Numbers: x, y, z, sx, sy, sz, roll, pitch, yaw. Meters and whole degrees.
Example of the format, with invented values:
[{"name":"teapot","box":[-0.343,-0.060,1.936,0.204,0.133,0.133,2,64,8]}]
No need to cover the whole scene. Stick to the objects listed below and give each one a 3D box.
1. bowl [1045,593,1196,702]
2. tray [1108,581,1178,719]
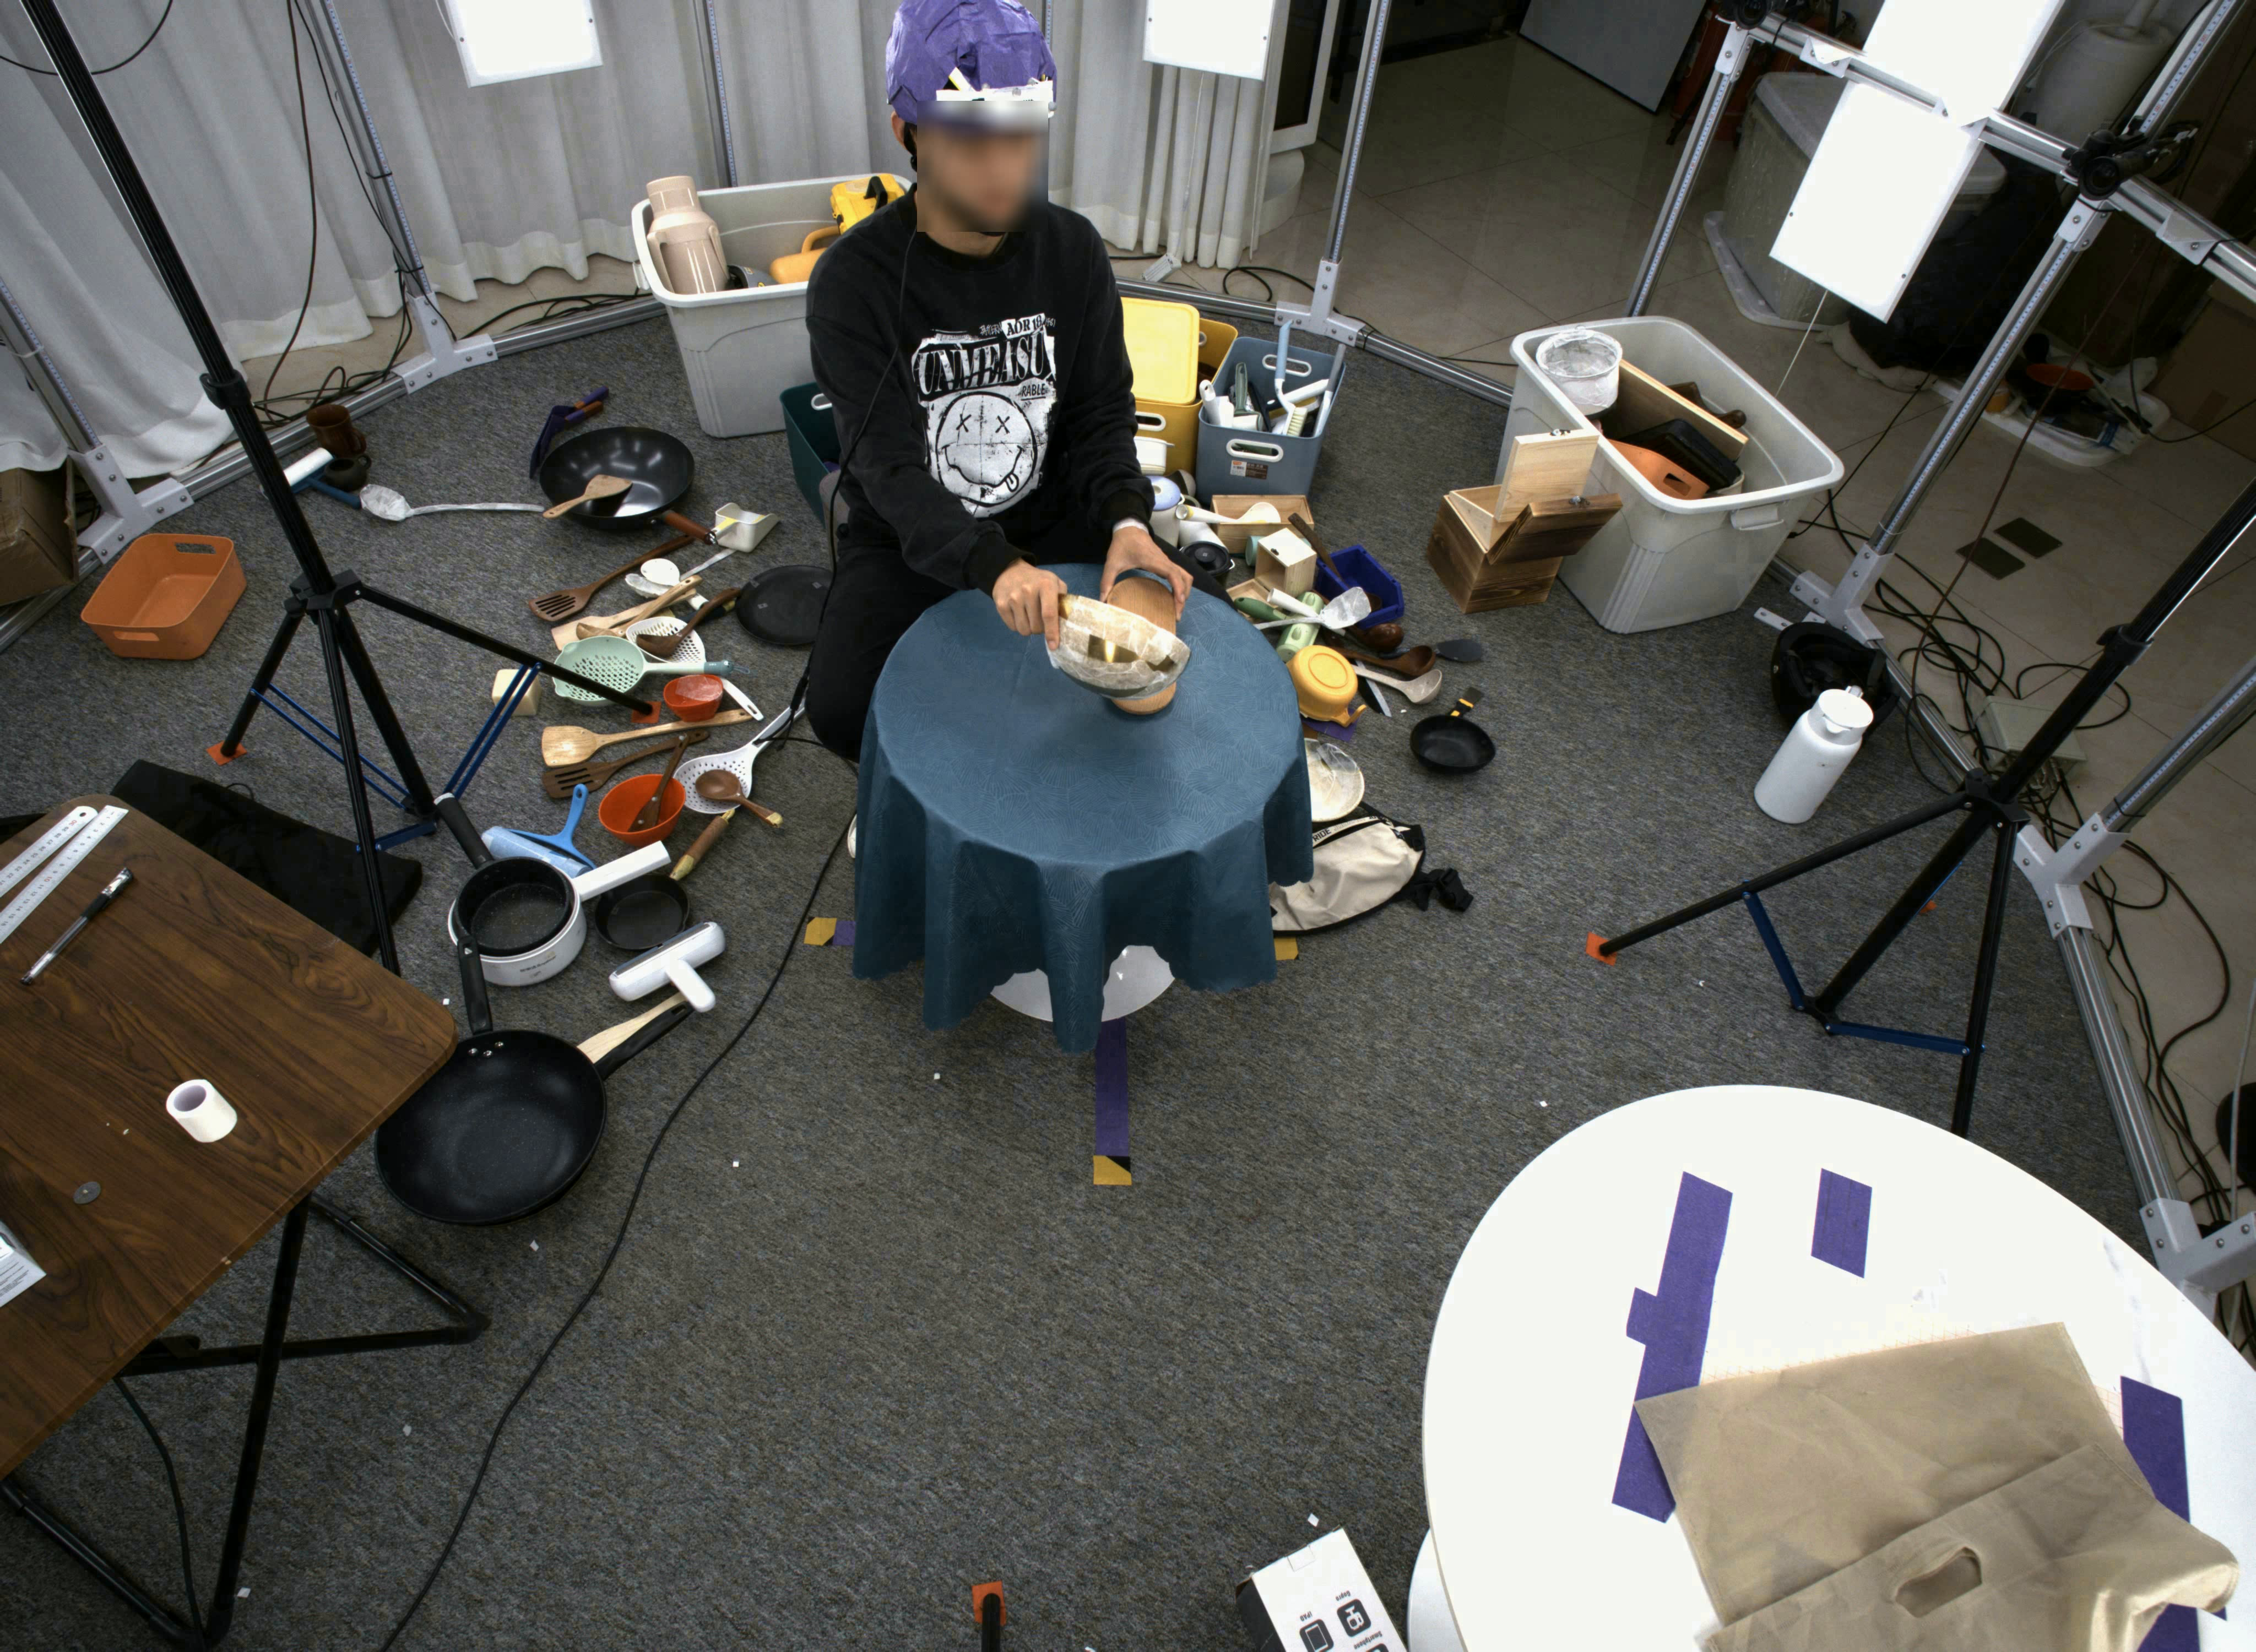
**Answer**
[{"name":"bowl","box":[-0.024,-0.218,1.682,0.216,0.213,0.095,20,86,13]},{"name":"tray","box":[0.021,-0.257,1.868,0.101,0.020,0.236,1,64,-2]}]
